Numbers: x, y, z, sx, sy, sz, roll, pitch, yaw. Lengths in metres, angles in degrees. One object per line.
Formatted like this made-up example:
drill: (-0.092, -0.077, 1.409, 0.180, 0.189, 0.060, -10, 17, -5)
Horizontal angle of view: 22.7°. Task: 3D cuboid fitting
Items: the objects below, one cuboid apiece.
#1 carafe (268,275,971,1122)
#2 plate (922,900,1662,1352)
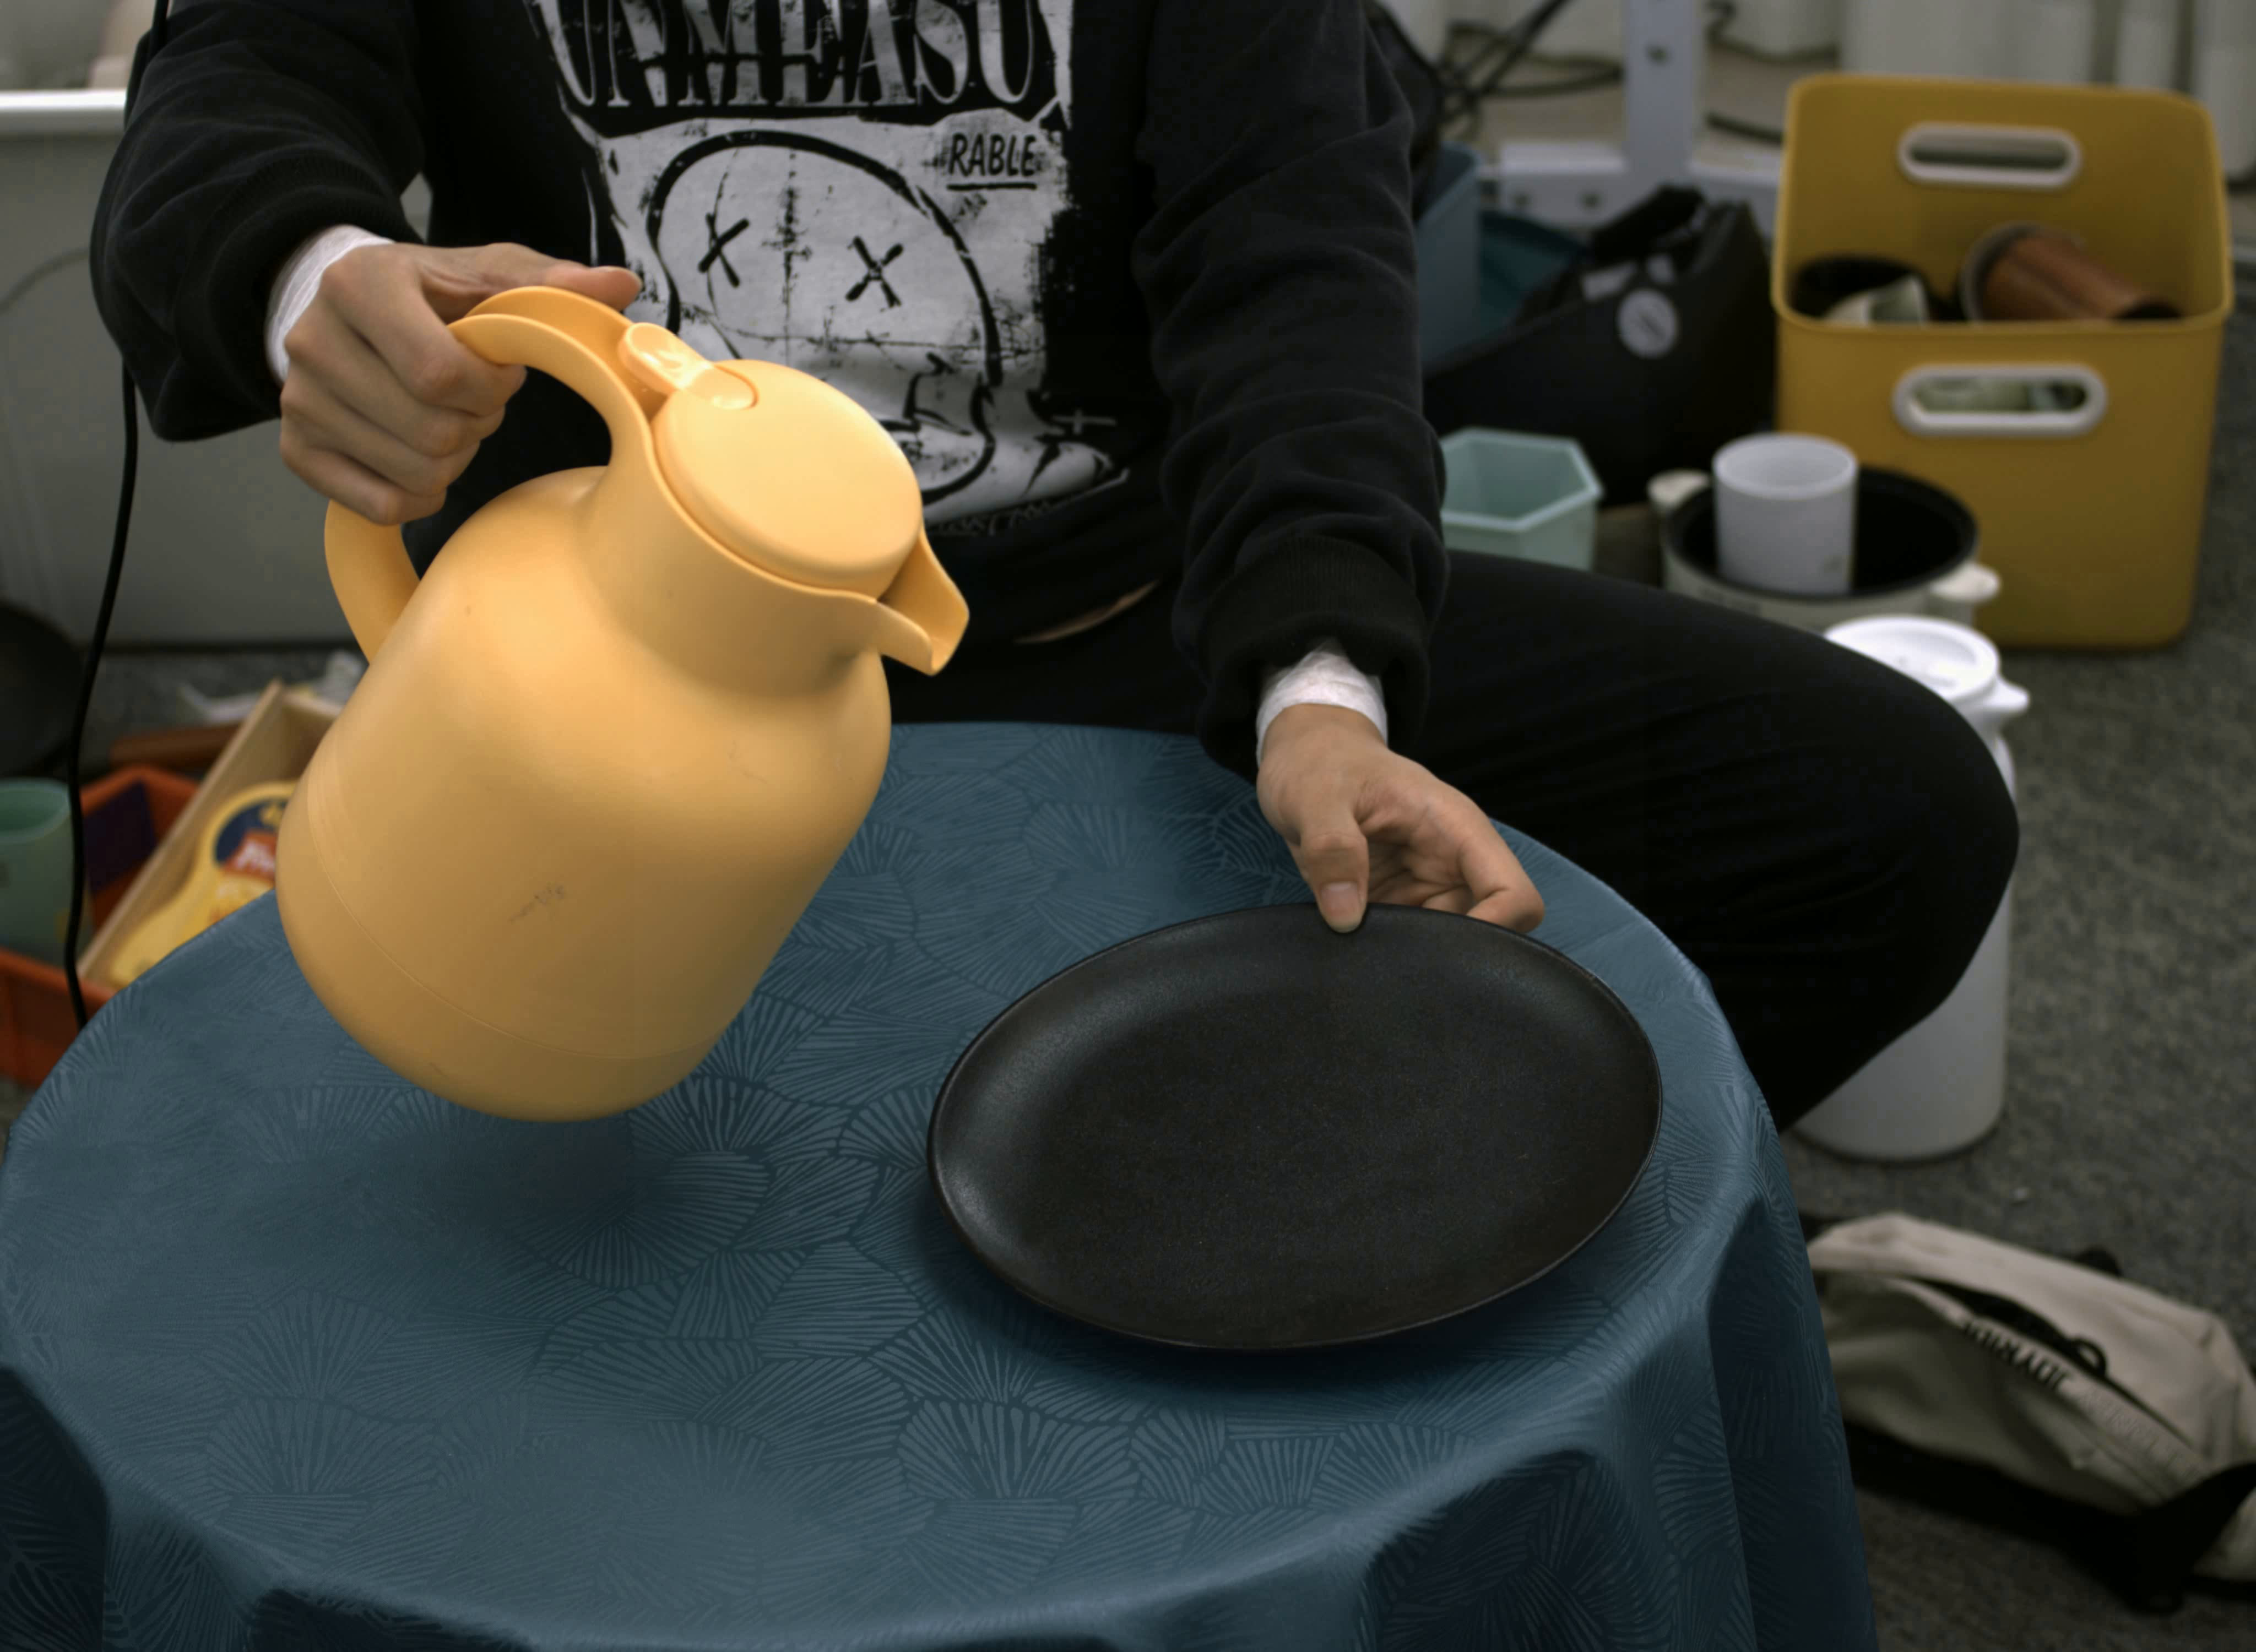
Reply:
carafe: (-0.173, -0.048, 1.802, 0.202, 0.256, 0.166, 42, 34, 7)
plate: (0.054, 0.102, 1.844, 0.243, 0.023, 0.248, -4, 33, 3)
